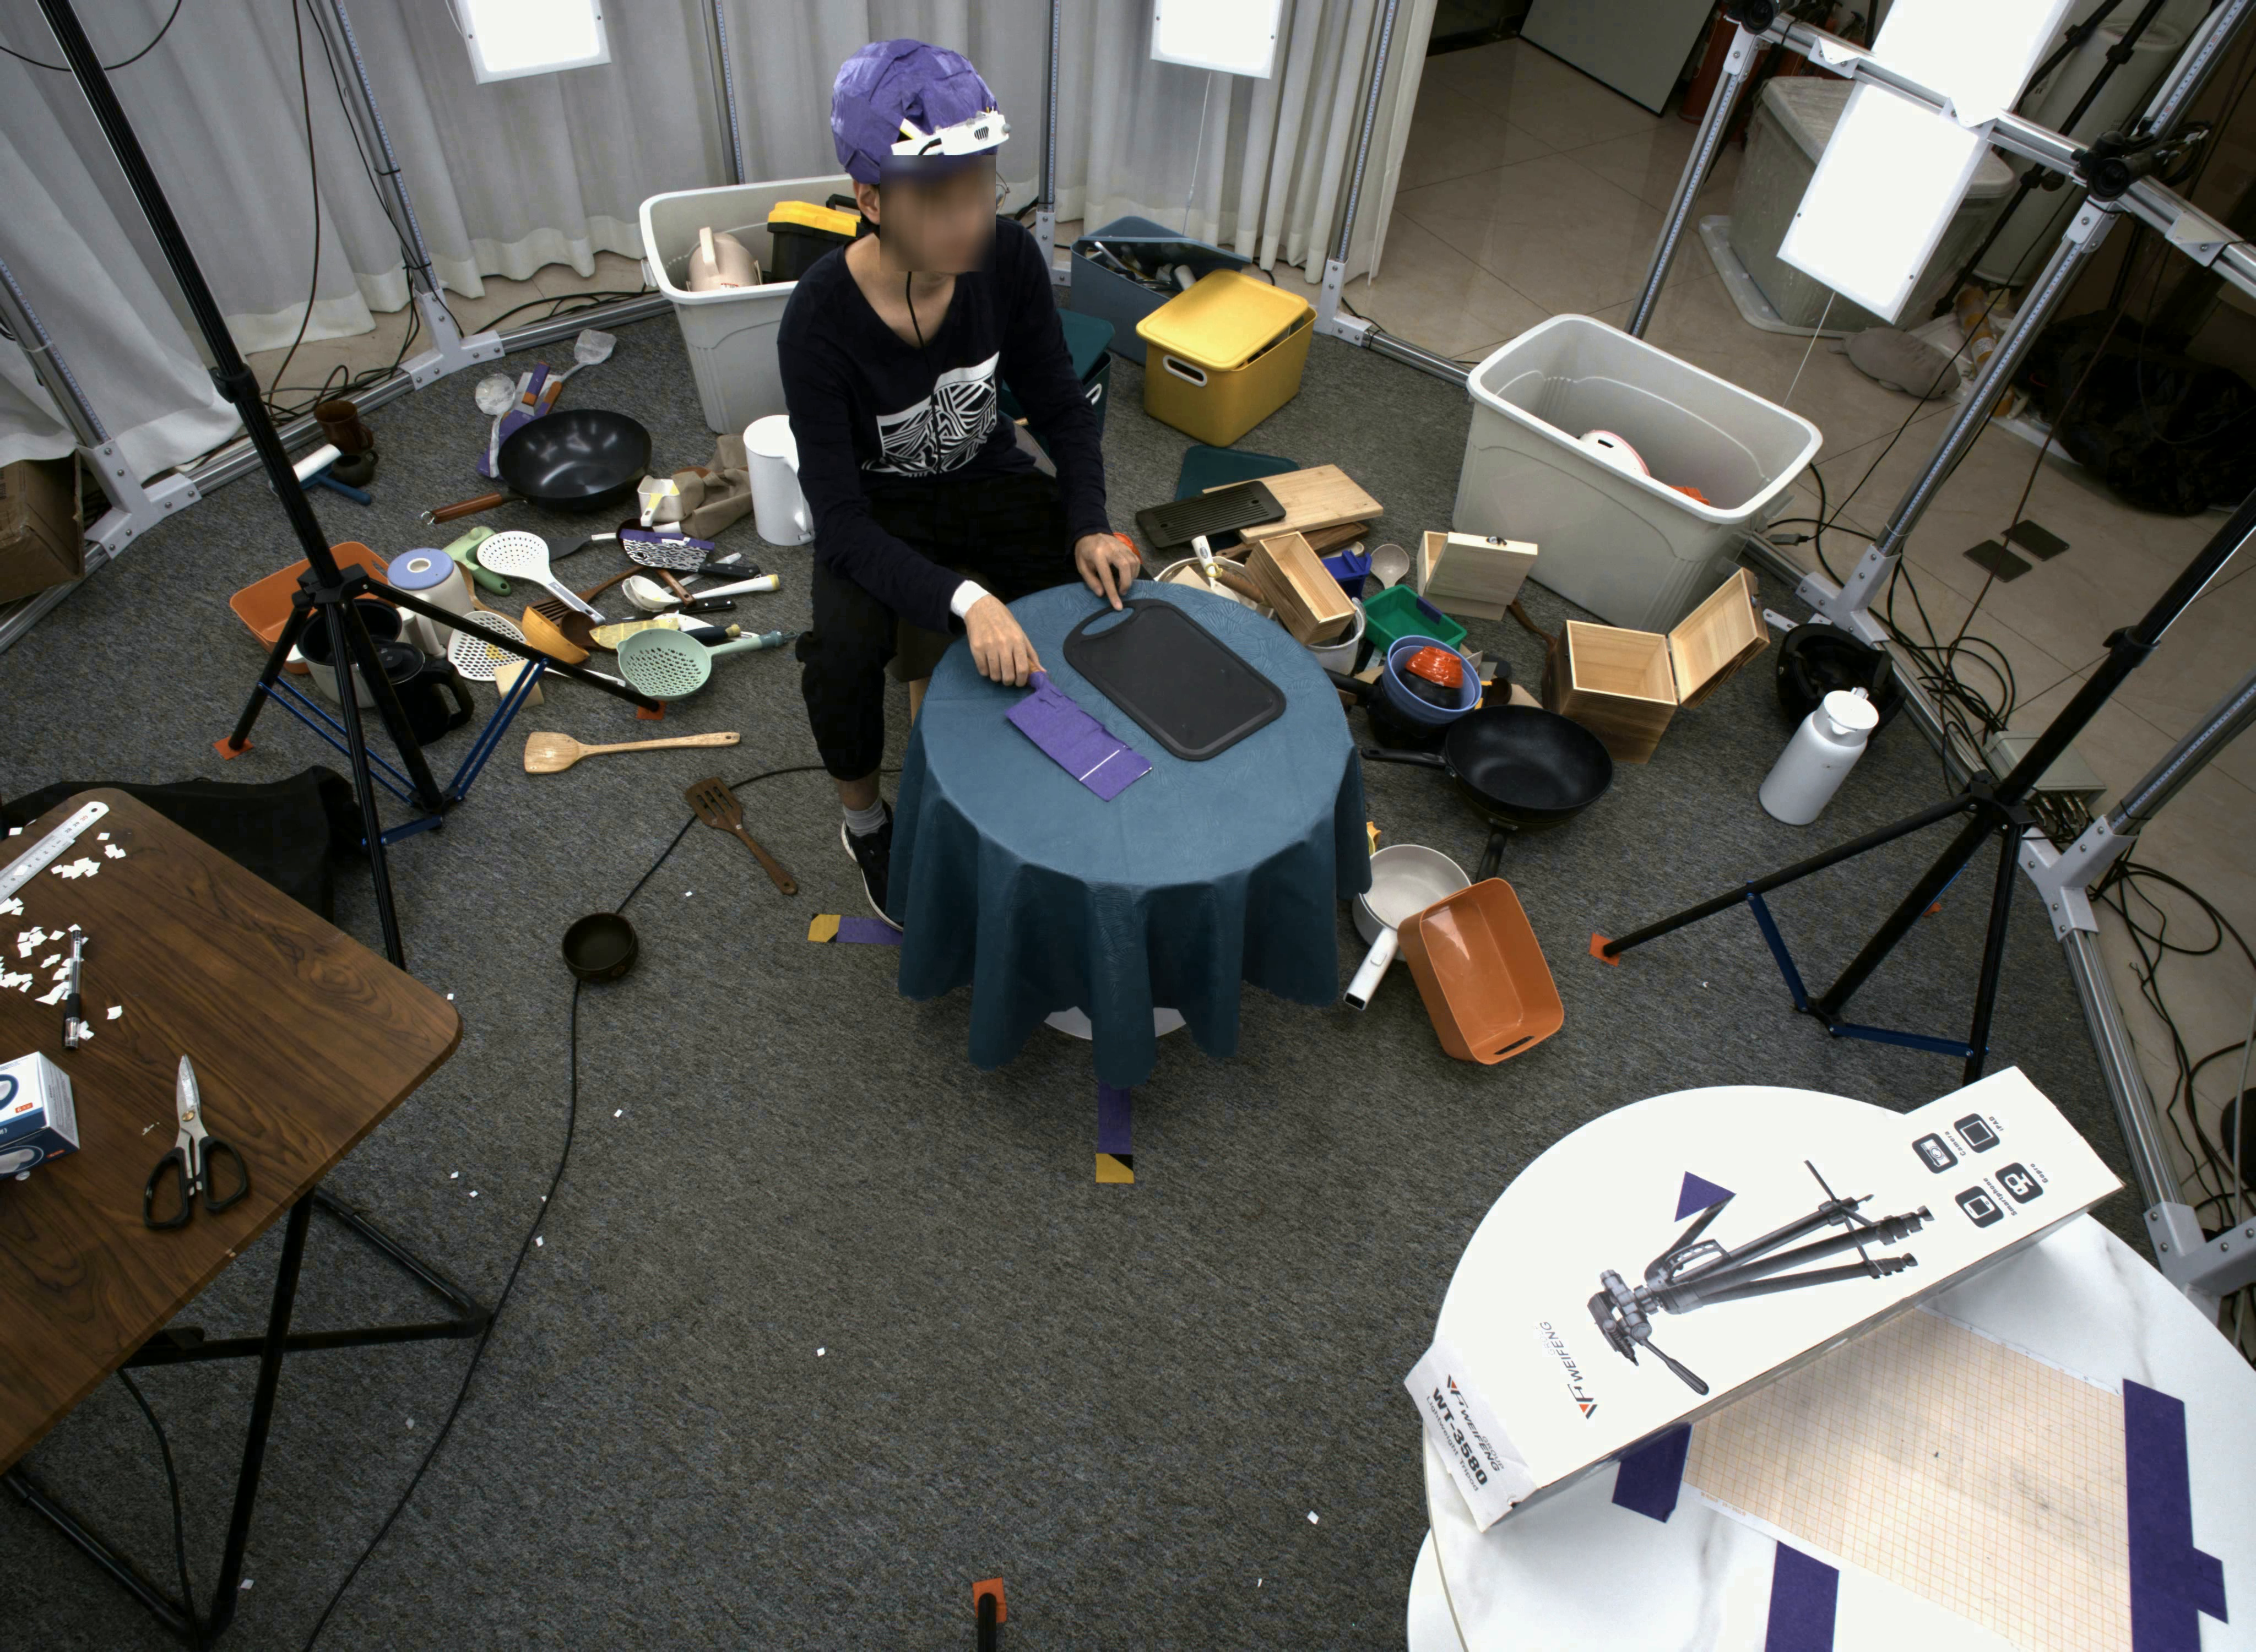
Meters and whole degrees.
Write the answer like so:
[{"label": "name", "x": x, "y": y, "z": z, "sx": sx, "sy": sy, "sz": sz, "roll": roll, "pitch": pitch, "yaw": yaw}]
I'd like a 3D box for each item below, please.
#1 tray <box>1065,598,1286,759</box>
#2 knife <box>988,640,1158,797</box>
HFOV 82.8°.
[{"label": "tray", "x": 0.060, "y": -0.225, "z": 1.862, "sx": 0.212, "sy": 0.009, "sz": 0.331, "roll": -30, "pitch": 57, "yaw": -27}, {"label": "knife", "x": -0.103, "y": -0.152, "z": 1.775, "sx": 0.105, "sy": 0.031, "sz": 0.320, "roll": -35, "pitch": 60, "yaw": -29}]
